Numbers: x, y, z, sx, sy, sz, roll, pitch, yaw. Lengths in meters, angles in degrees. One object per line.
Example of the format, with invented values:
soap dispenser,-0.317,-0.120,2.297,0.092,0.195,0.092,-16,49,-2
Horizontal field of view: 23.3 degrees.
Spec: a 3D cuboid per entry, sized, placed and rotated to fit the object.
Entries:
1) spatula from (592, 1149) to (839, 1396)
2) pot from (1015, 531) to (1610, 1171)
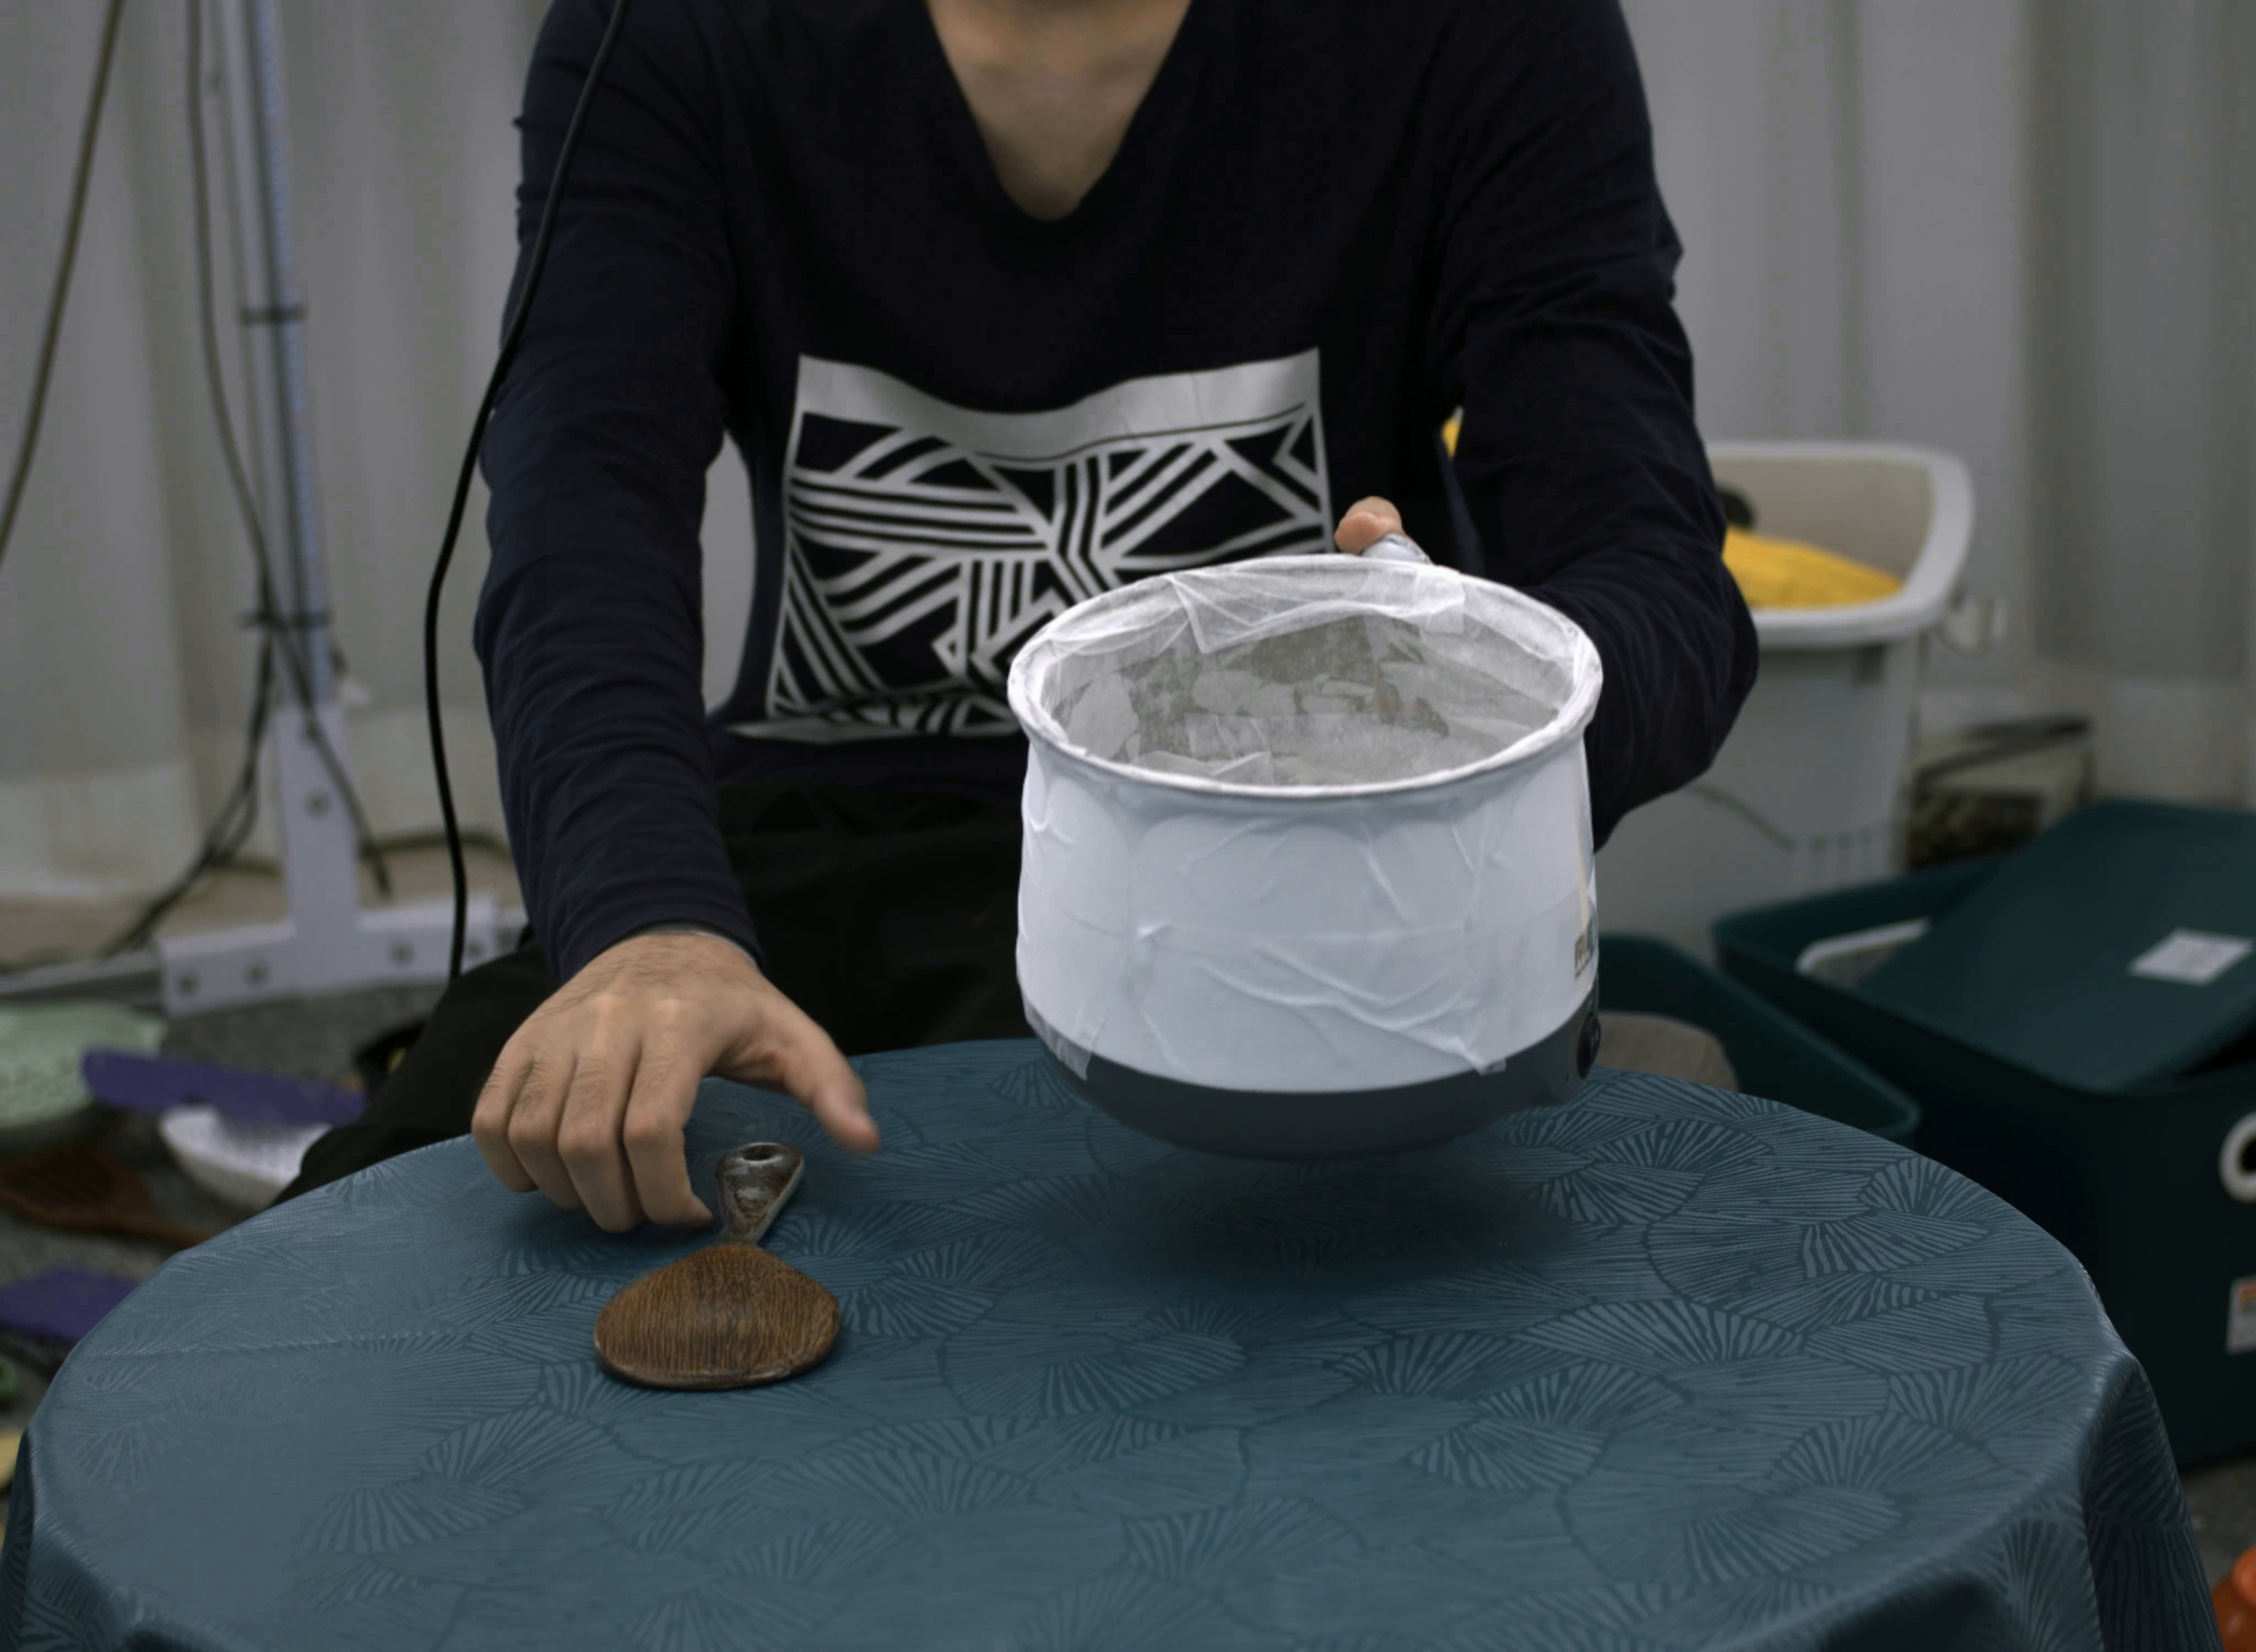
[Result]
spatula,-0.118,0.133,1.663,0.071,0.009,0.217,-1,14,2
pot,0.061,0.000,1.677,0.179,0.135,0.235,8,27,14
